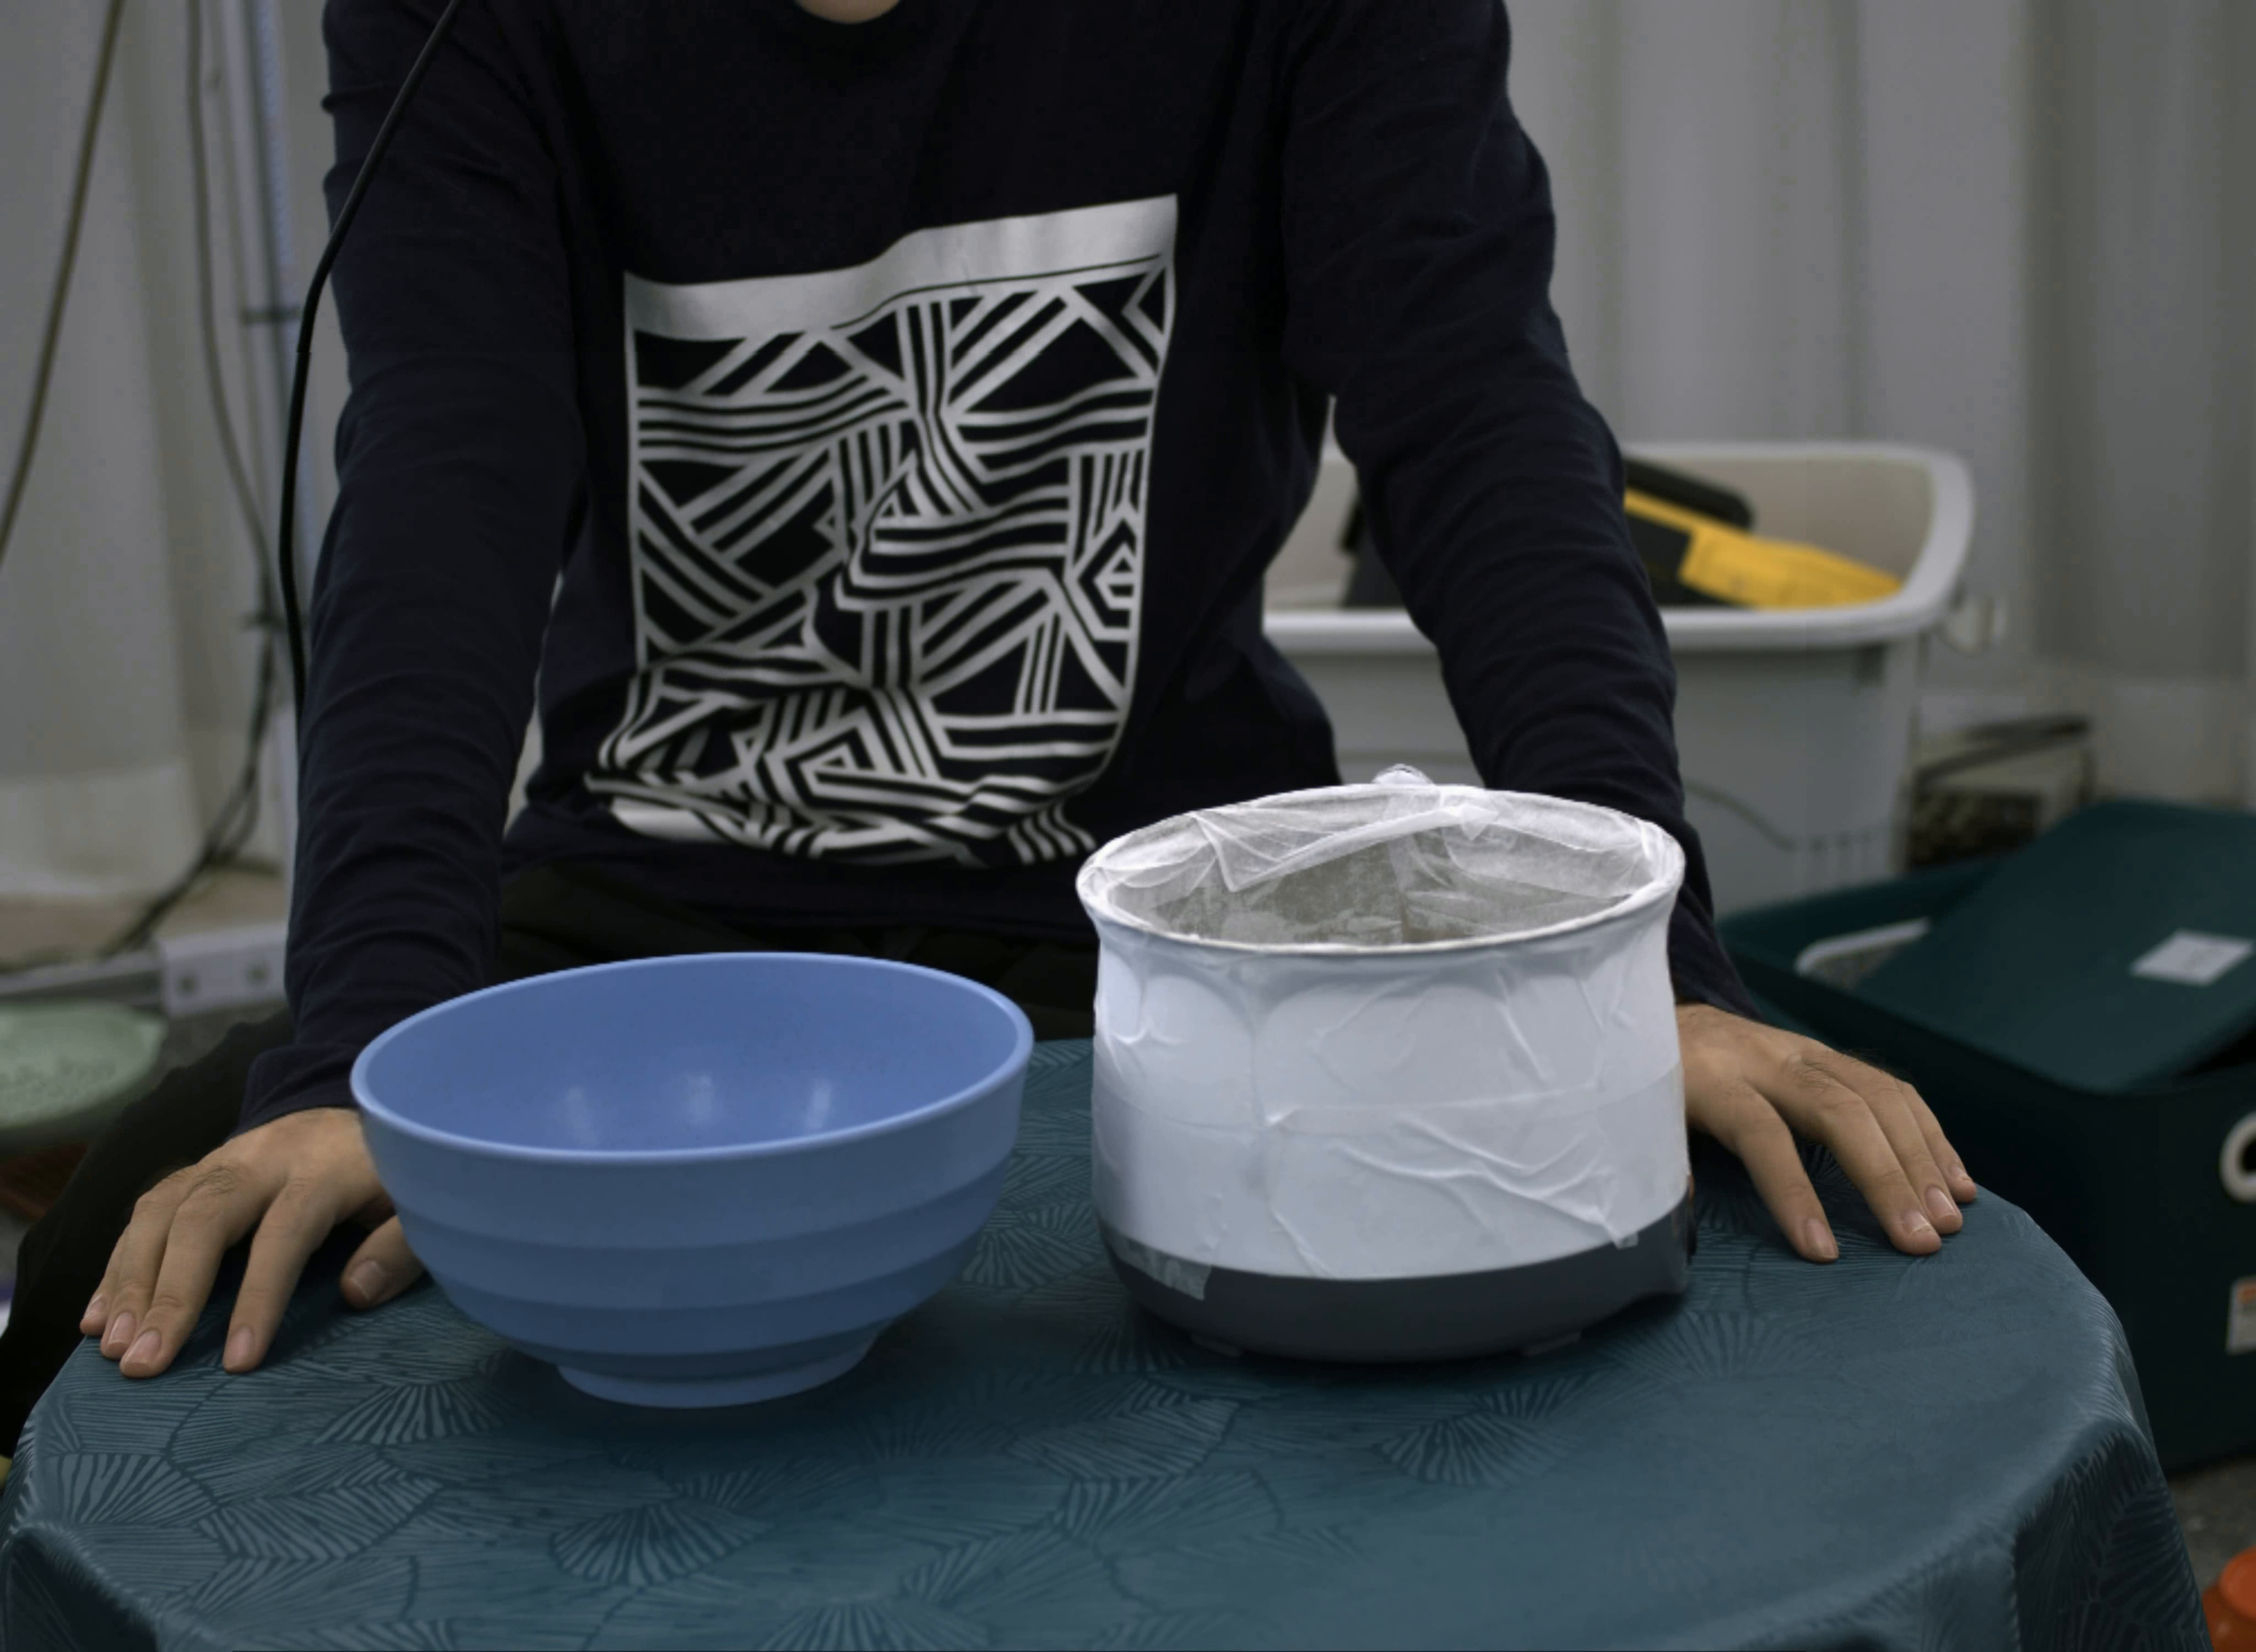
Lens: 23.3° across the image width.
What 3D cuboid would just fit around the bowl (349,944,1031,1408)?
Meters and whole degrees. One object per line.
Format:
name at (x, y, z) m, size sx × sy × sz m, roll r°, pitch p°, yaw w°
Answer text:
bowl at (-0.122, 0.107, 1.579) m, size 0.196 × 0.095 × 0.198 m, roll -4°, pitch 16°, yaw 1°

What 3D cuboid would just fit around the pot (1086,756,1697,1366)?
pot at (0.078, 0.064, 1.625) m, size 0.178 × 0.136 × 0.235 m, roll 1°, pitch 16°, yaw 4°
